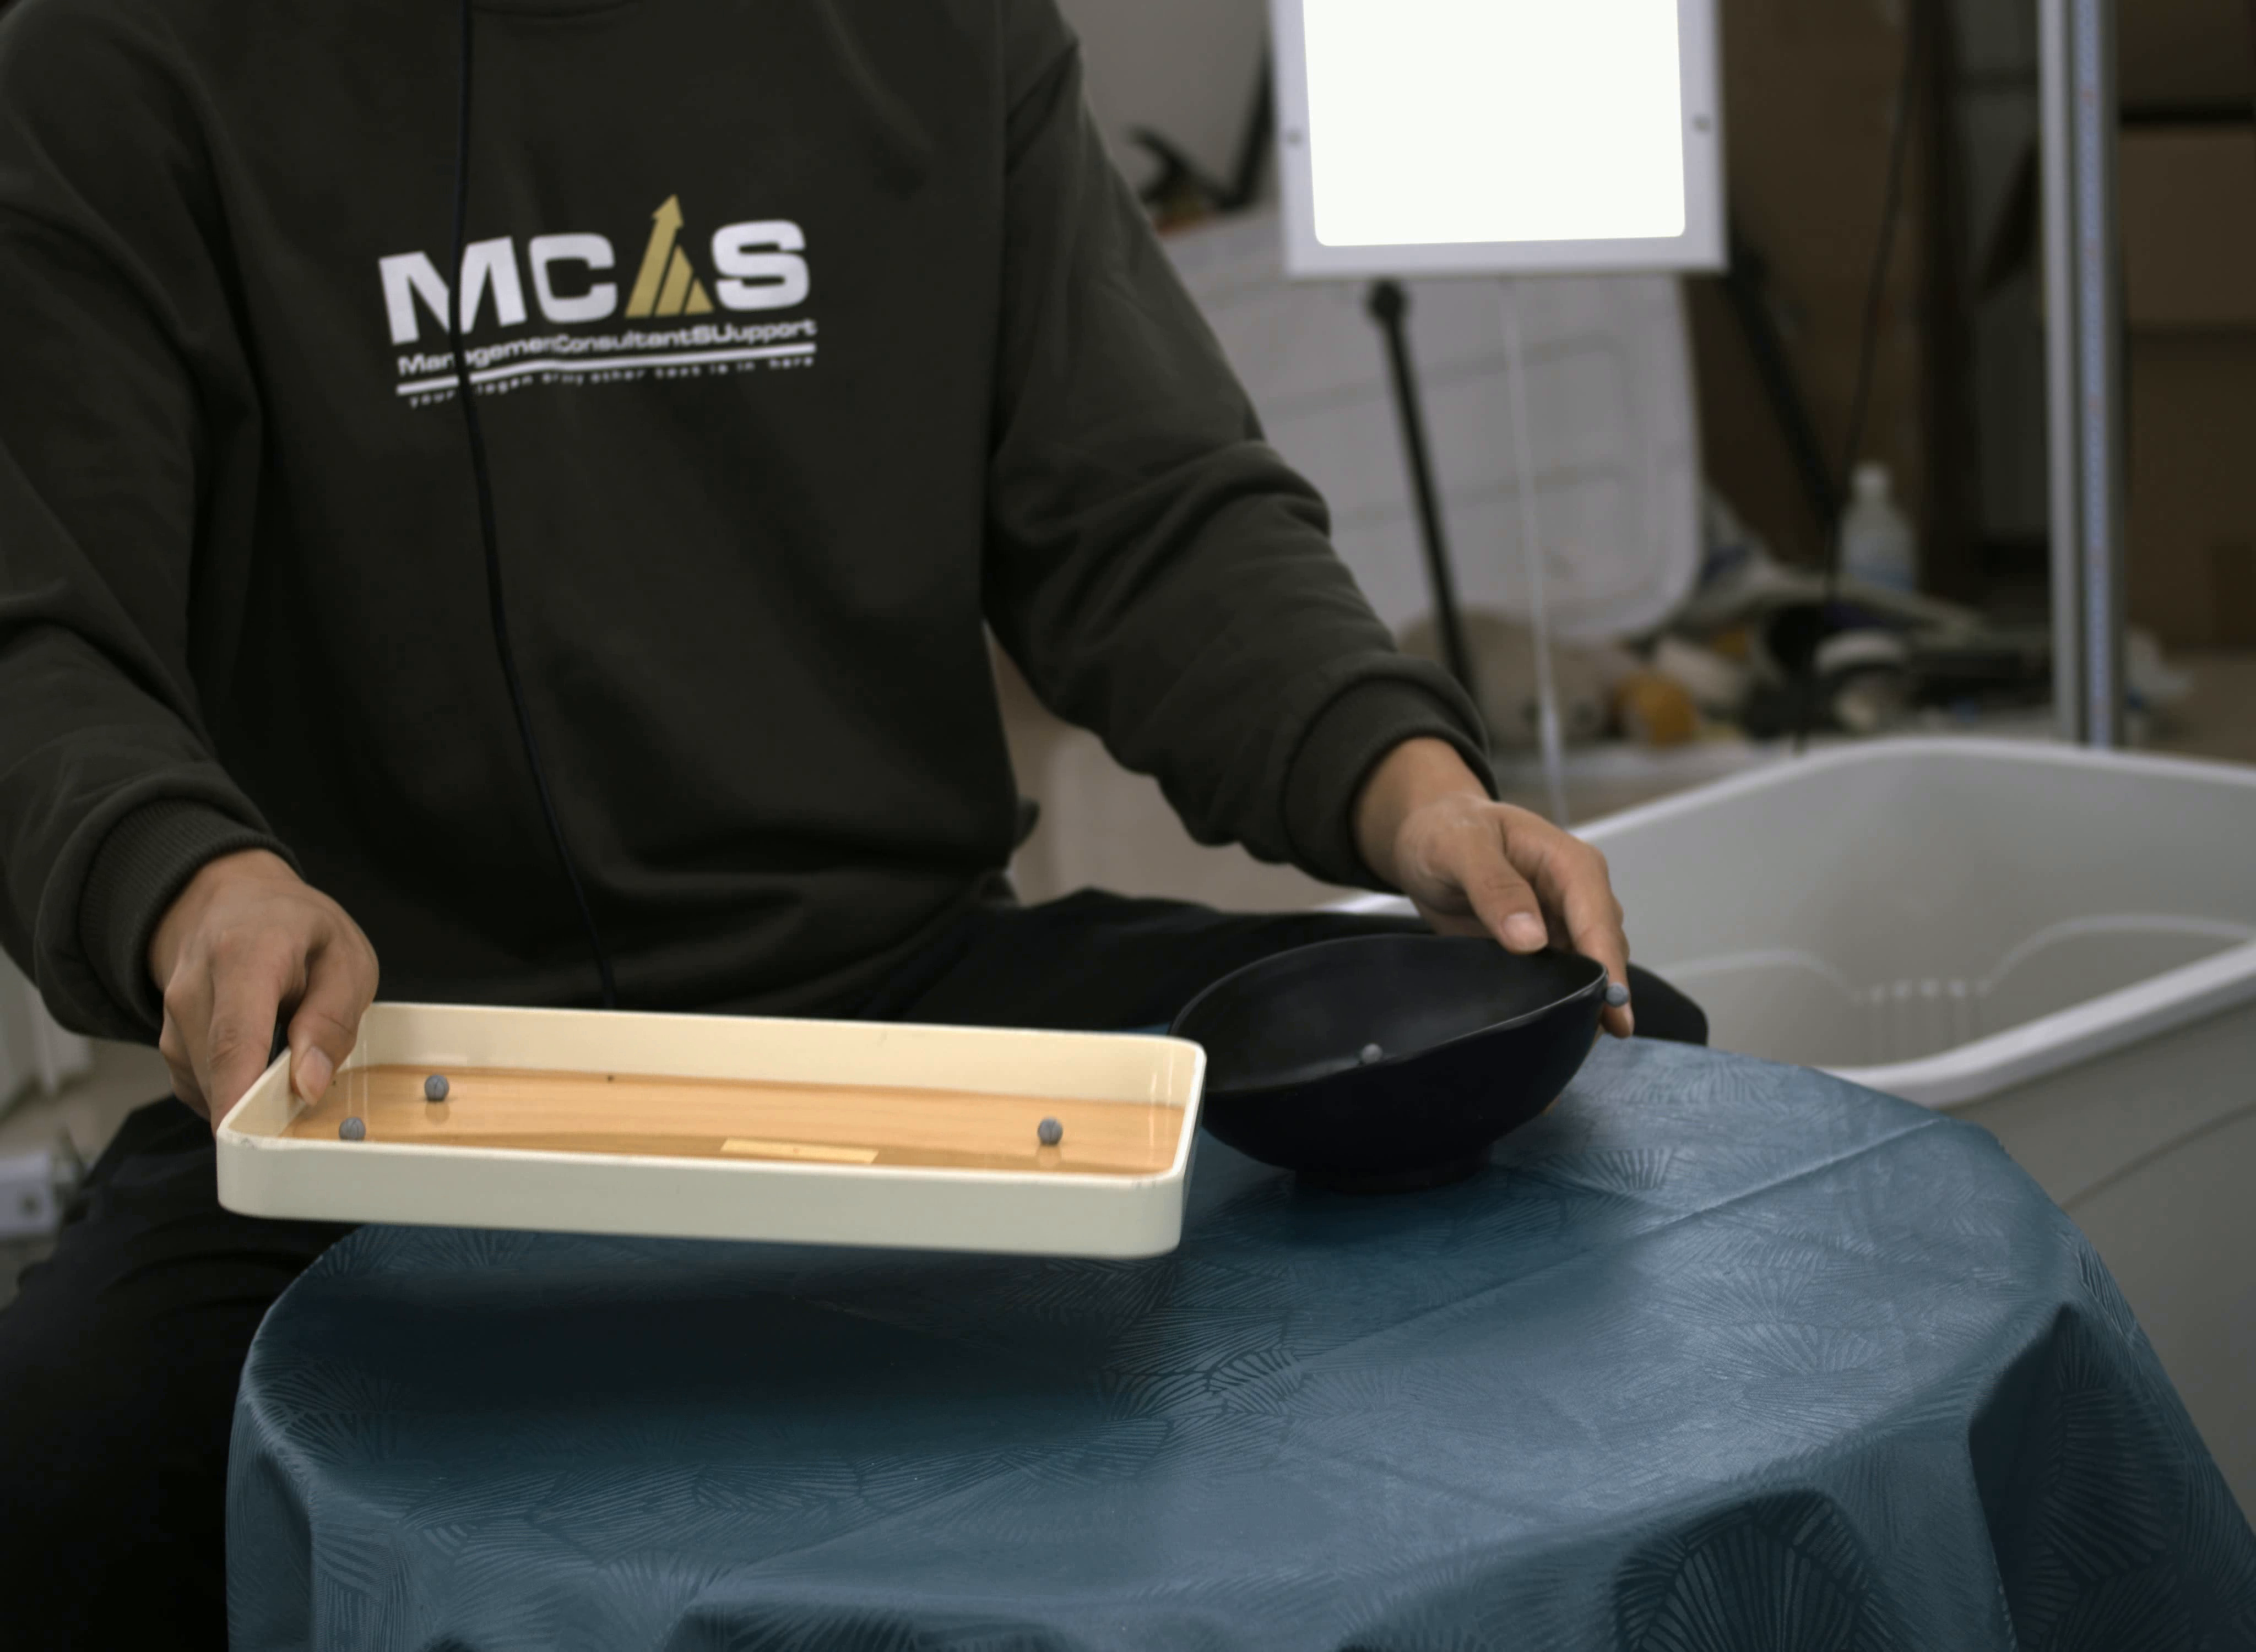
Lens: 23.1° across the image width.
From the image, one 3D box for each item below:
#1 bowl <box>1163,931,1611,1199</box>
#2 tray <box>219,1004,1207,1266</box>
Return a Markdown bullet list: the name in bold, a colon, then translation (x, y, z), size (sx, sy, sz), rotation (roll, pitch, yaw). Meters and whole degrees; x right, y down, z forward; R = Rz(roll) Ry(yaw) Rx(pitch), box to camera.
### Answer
- **bowl**: translation (0.092, 0.087, 1.897), size (0.166, 0.067, 0.140), rotation (-18, 17, -36)
- **tray**: translation (-0.127, 0.098, 1.771), size (0.301, 0.027, 0.190), rotation (3, 12, 5)
